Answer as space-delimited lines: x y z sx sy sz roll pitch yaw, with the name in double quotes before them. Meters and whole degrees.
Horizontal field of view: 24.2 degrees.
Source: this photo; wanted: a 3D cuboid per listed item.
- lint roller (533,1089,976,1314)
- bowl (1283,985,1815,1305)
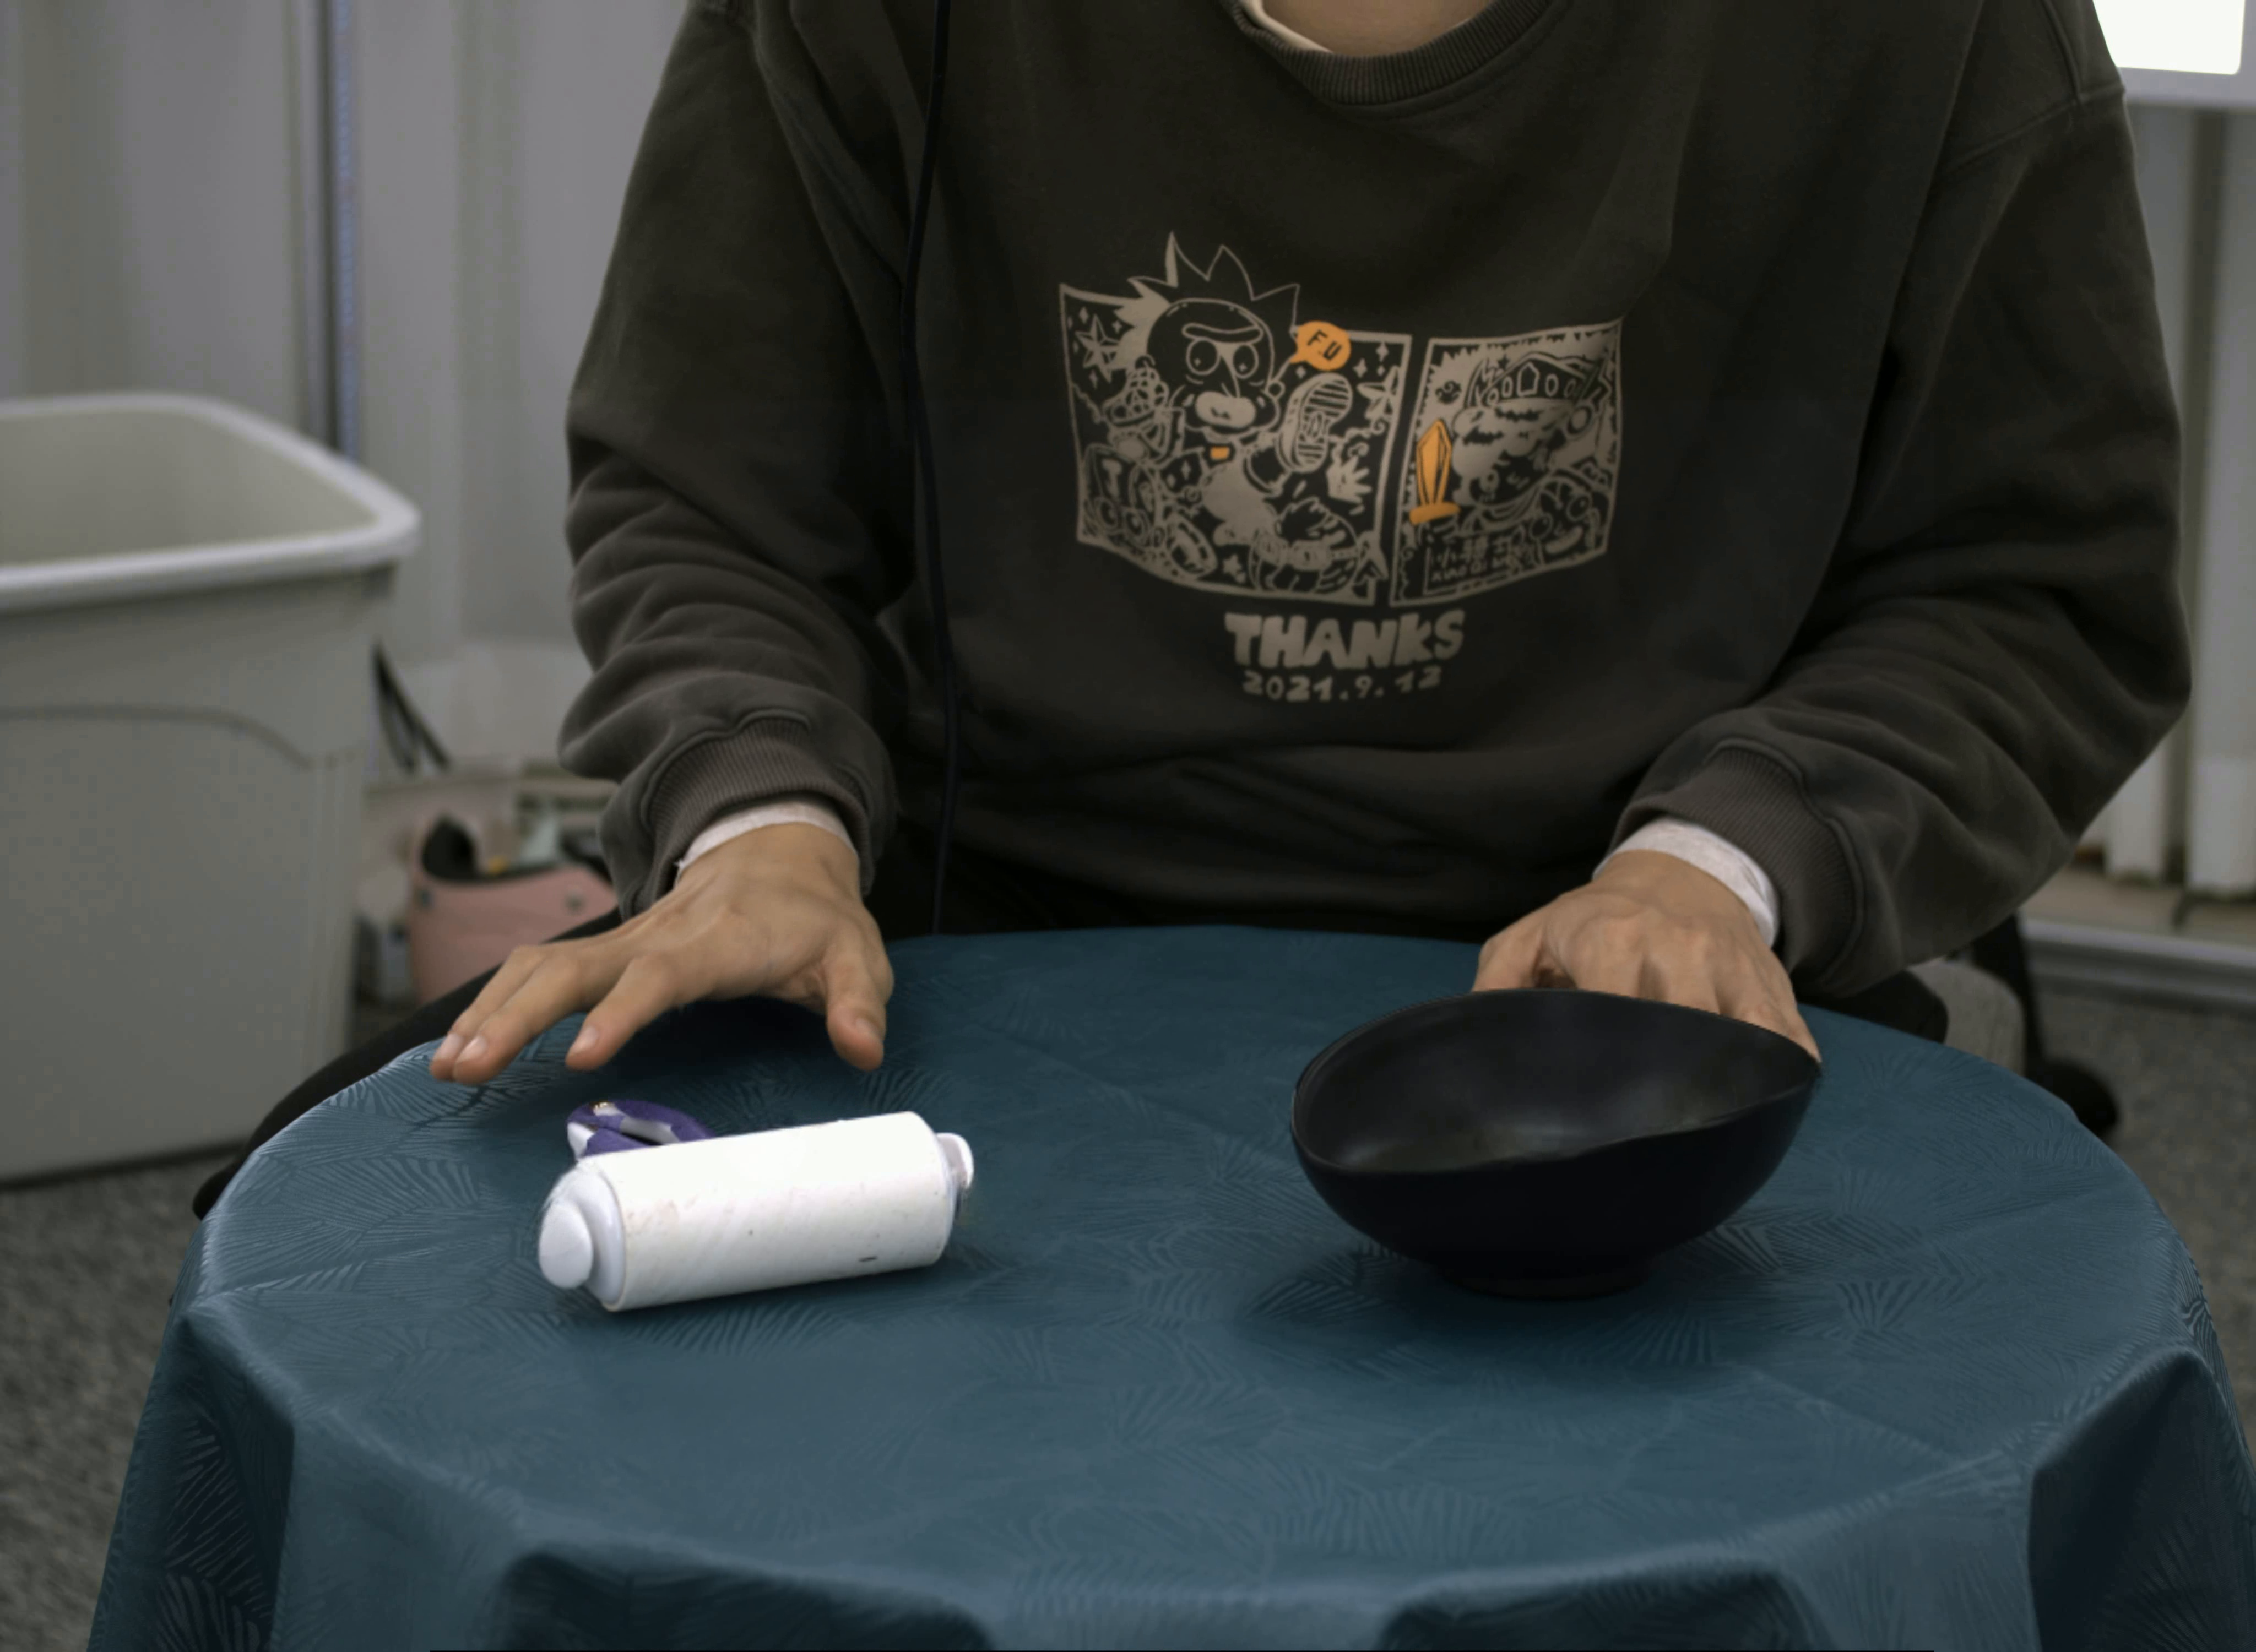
"lint roller" -0.132 0.095 1.598 0.133 0.050 0.178 -6 20 -21
"bowl" 0.126 0.100 1.562 0.171 0.067 0.135 -14 20 -37
